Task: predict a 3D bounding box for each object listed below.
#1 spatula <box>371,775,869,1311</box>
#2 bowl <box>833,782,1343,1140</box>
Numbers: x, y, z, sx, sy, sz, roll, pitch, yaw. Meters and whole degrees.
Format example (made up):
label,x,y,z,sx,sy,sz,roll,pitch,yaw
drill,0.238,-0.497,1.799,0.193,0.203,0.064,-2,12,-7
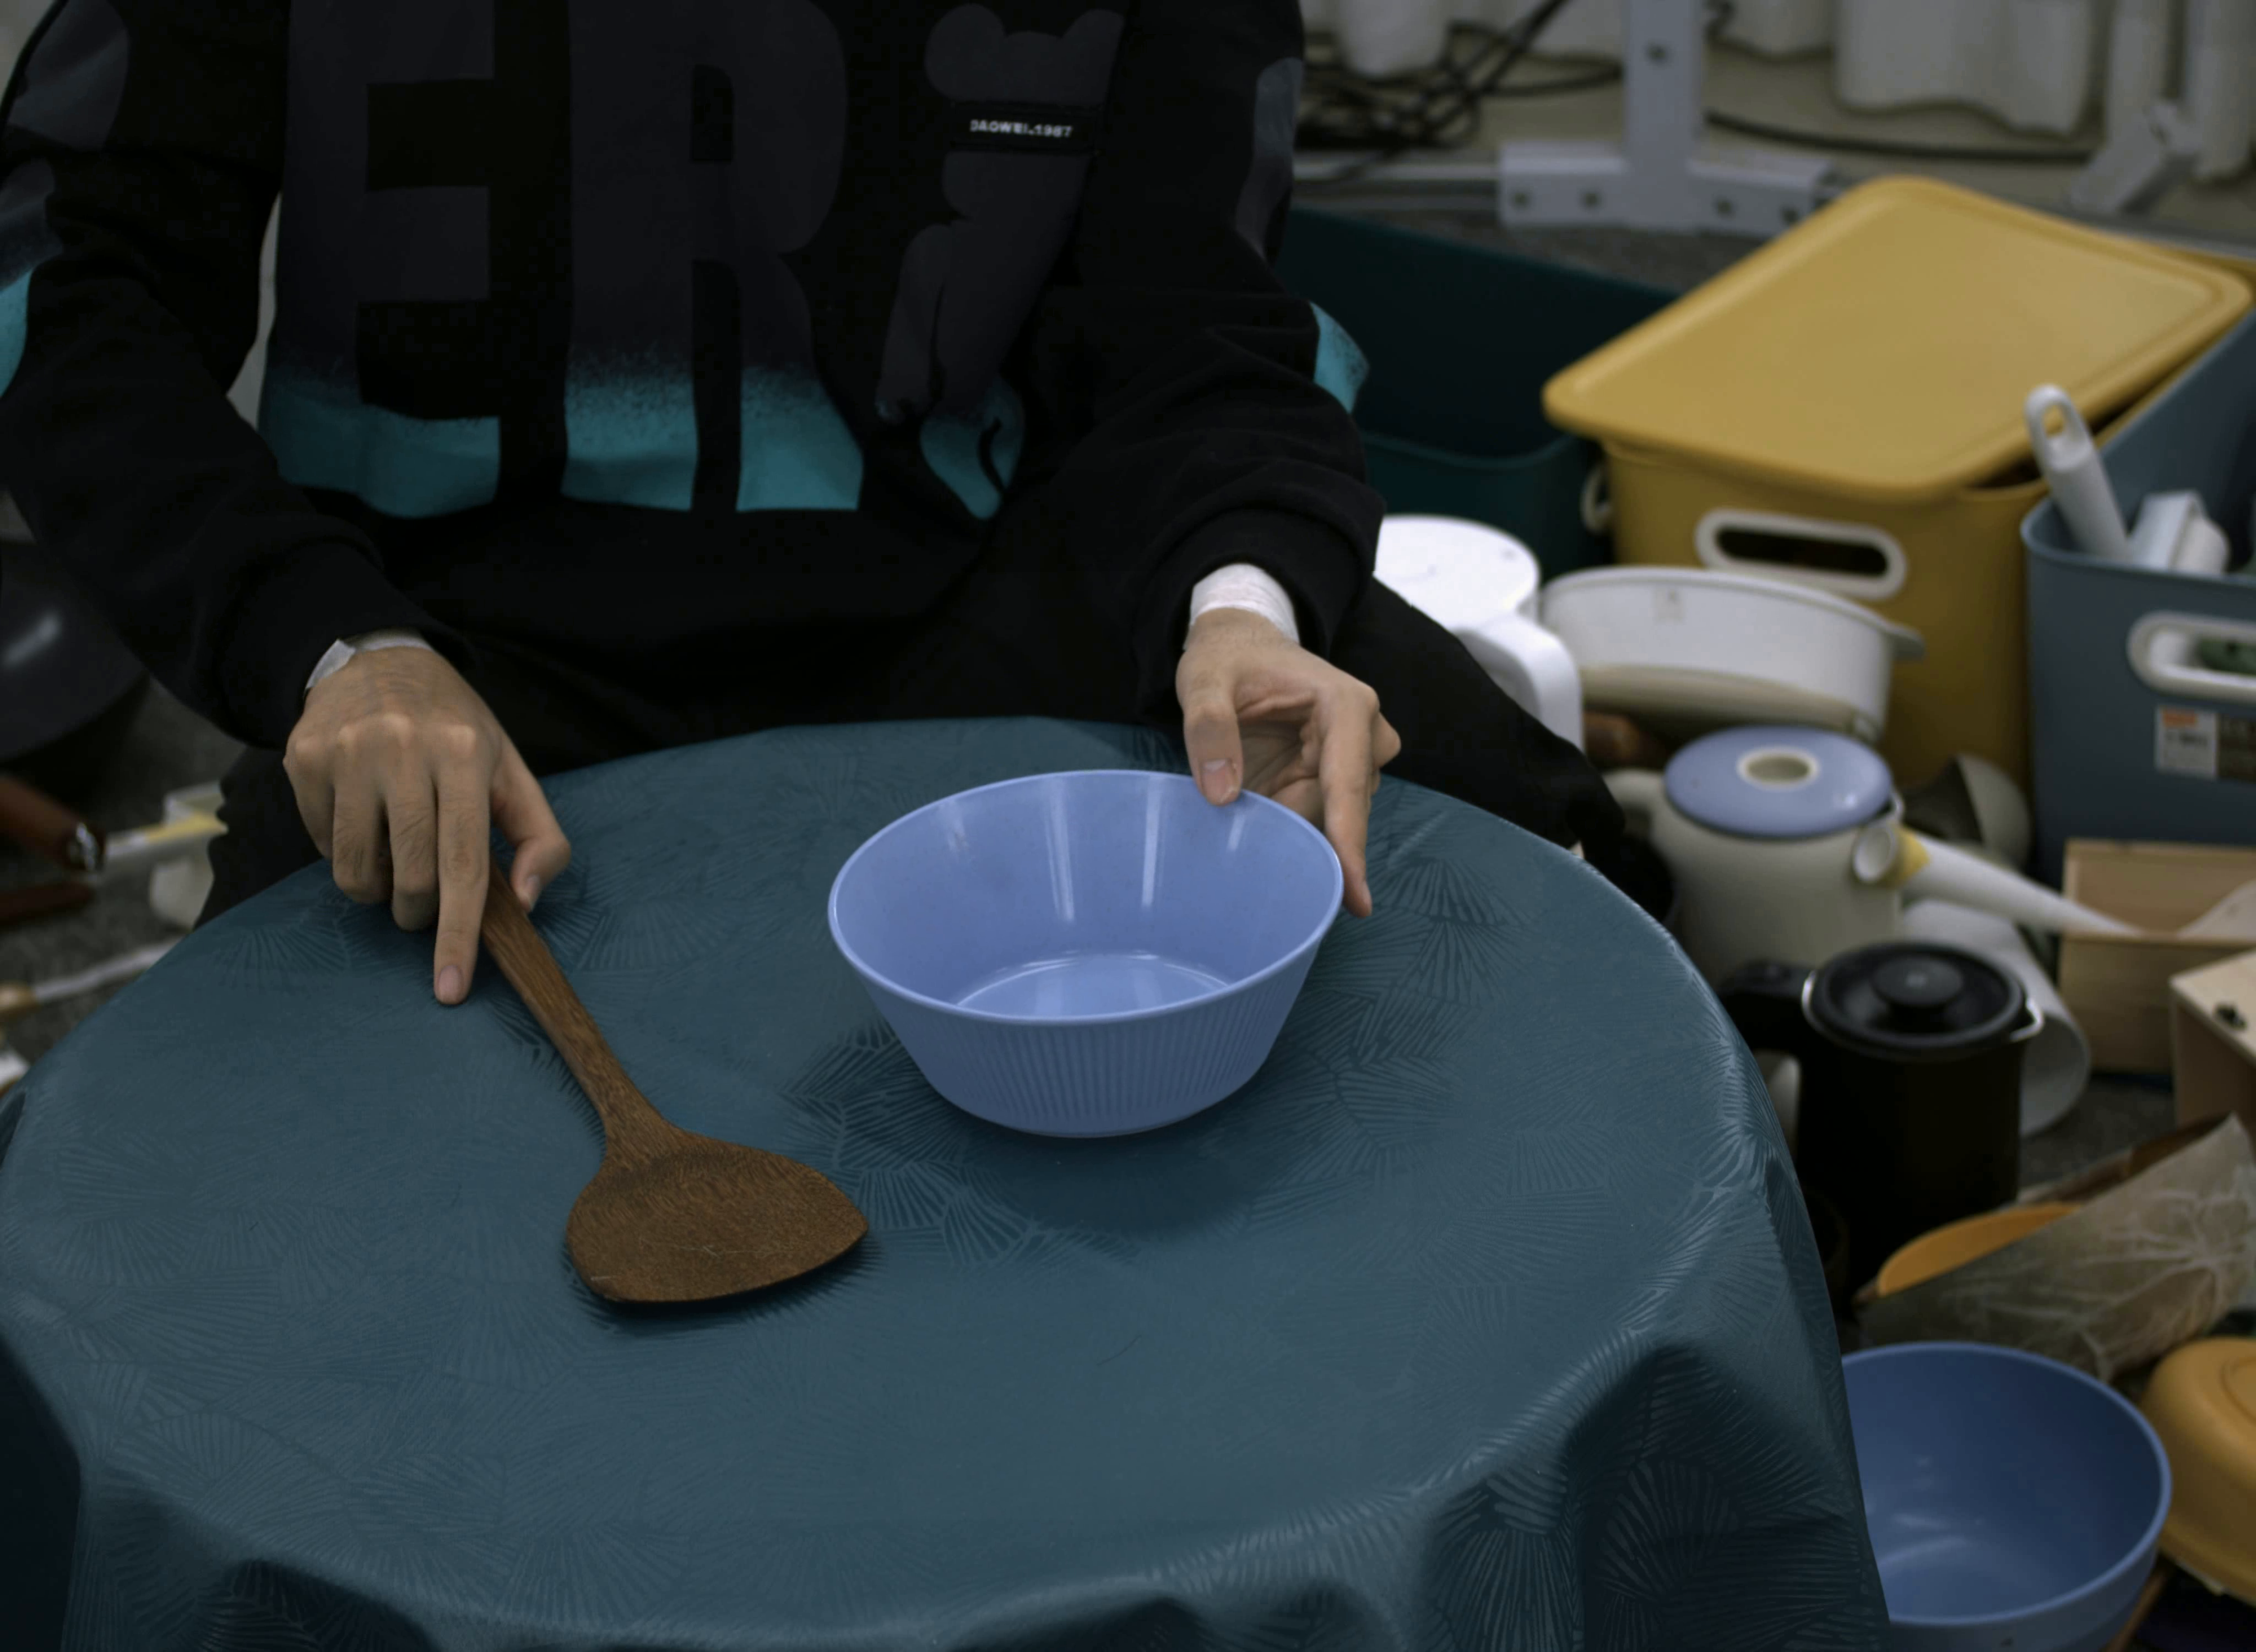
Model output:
label,x,y,z,sx,sy,sz,roll,pitch,yaw
spatula,-0.198,0.067,1.960,0.096,0.015,0.389,-13,32,-20
bowl,-0.012,0.052,1.923,0.175,0.069,0.178,-2,26,2
